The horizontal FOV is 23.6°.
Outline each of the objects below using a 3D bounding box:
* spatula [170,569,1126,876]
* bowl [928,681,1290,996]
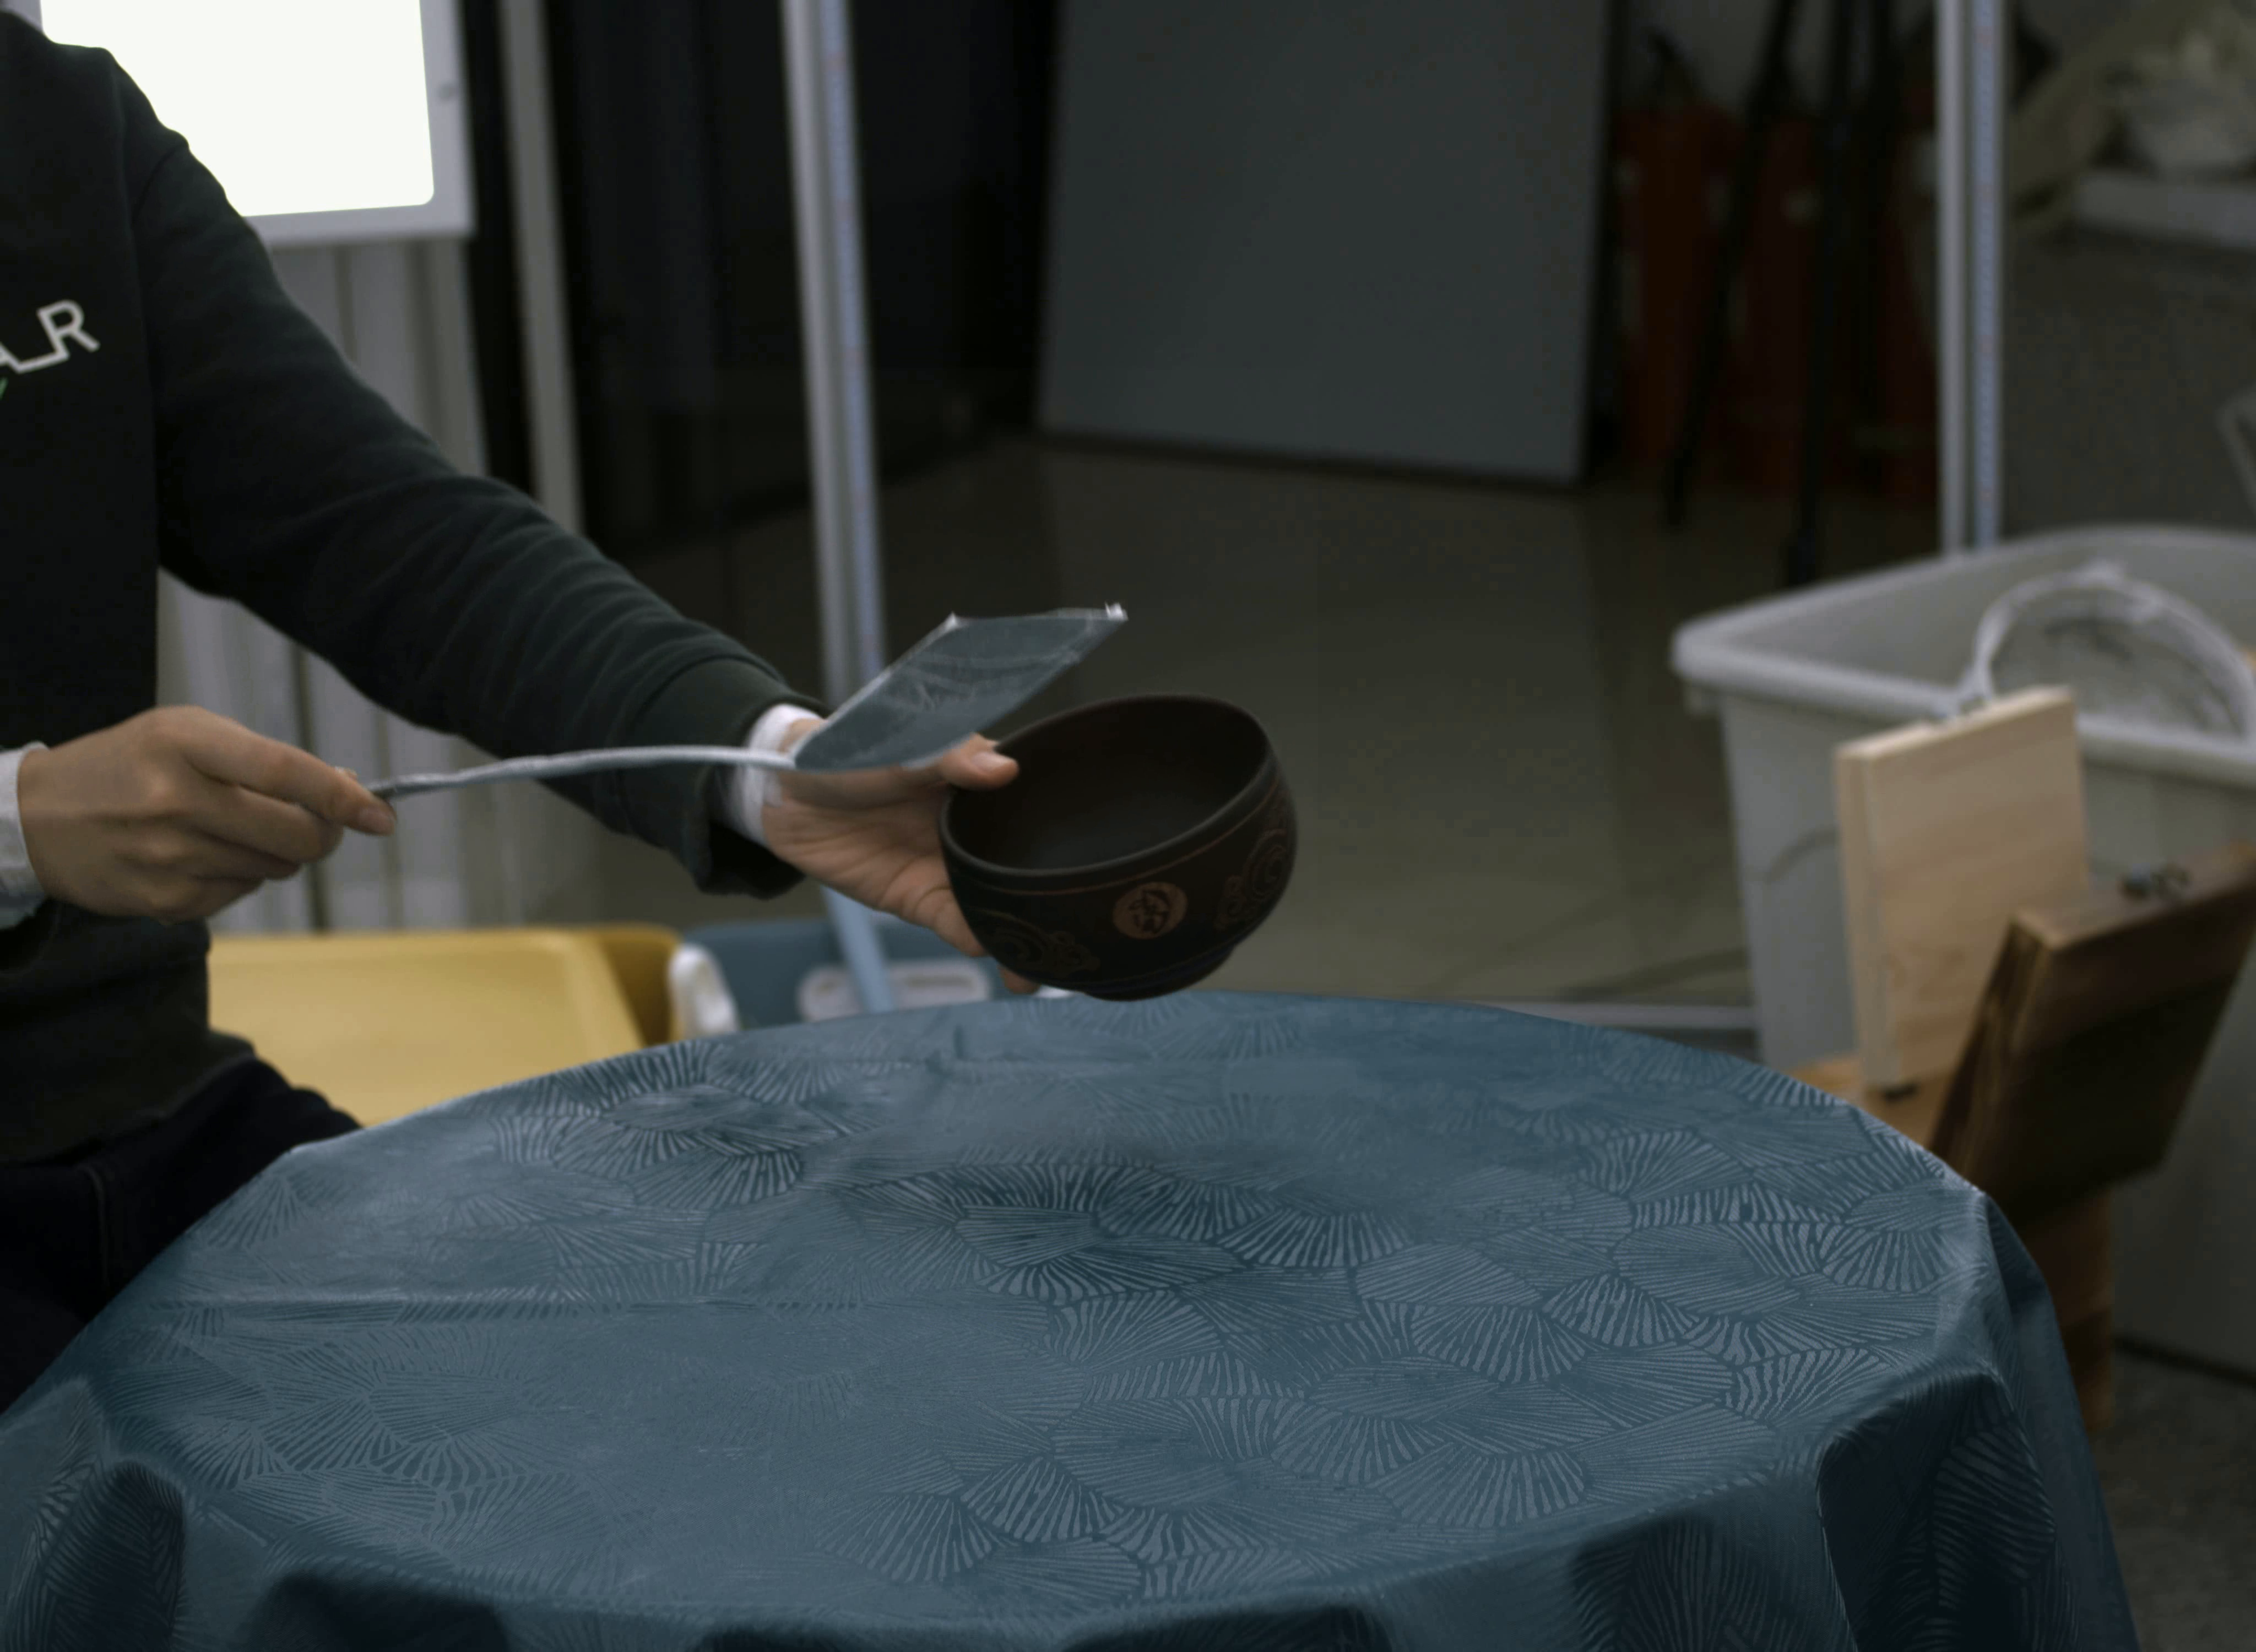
[{"bbox_3d":[-0.165,-0.028,1.662,0.366,0.045,0.097,-9,-1,32],"label":"spatula"},{"bbox_3d":[-0.002,0.011,1.761,0.117,0.070,0.118,-14,26,6],"label":"bowl"}]
